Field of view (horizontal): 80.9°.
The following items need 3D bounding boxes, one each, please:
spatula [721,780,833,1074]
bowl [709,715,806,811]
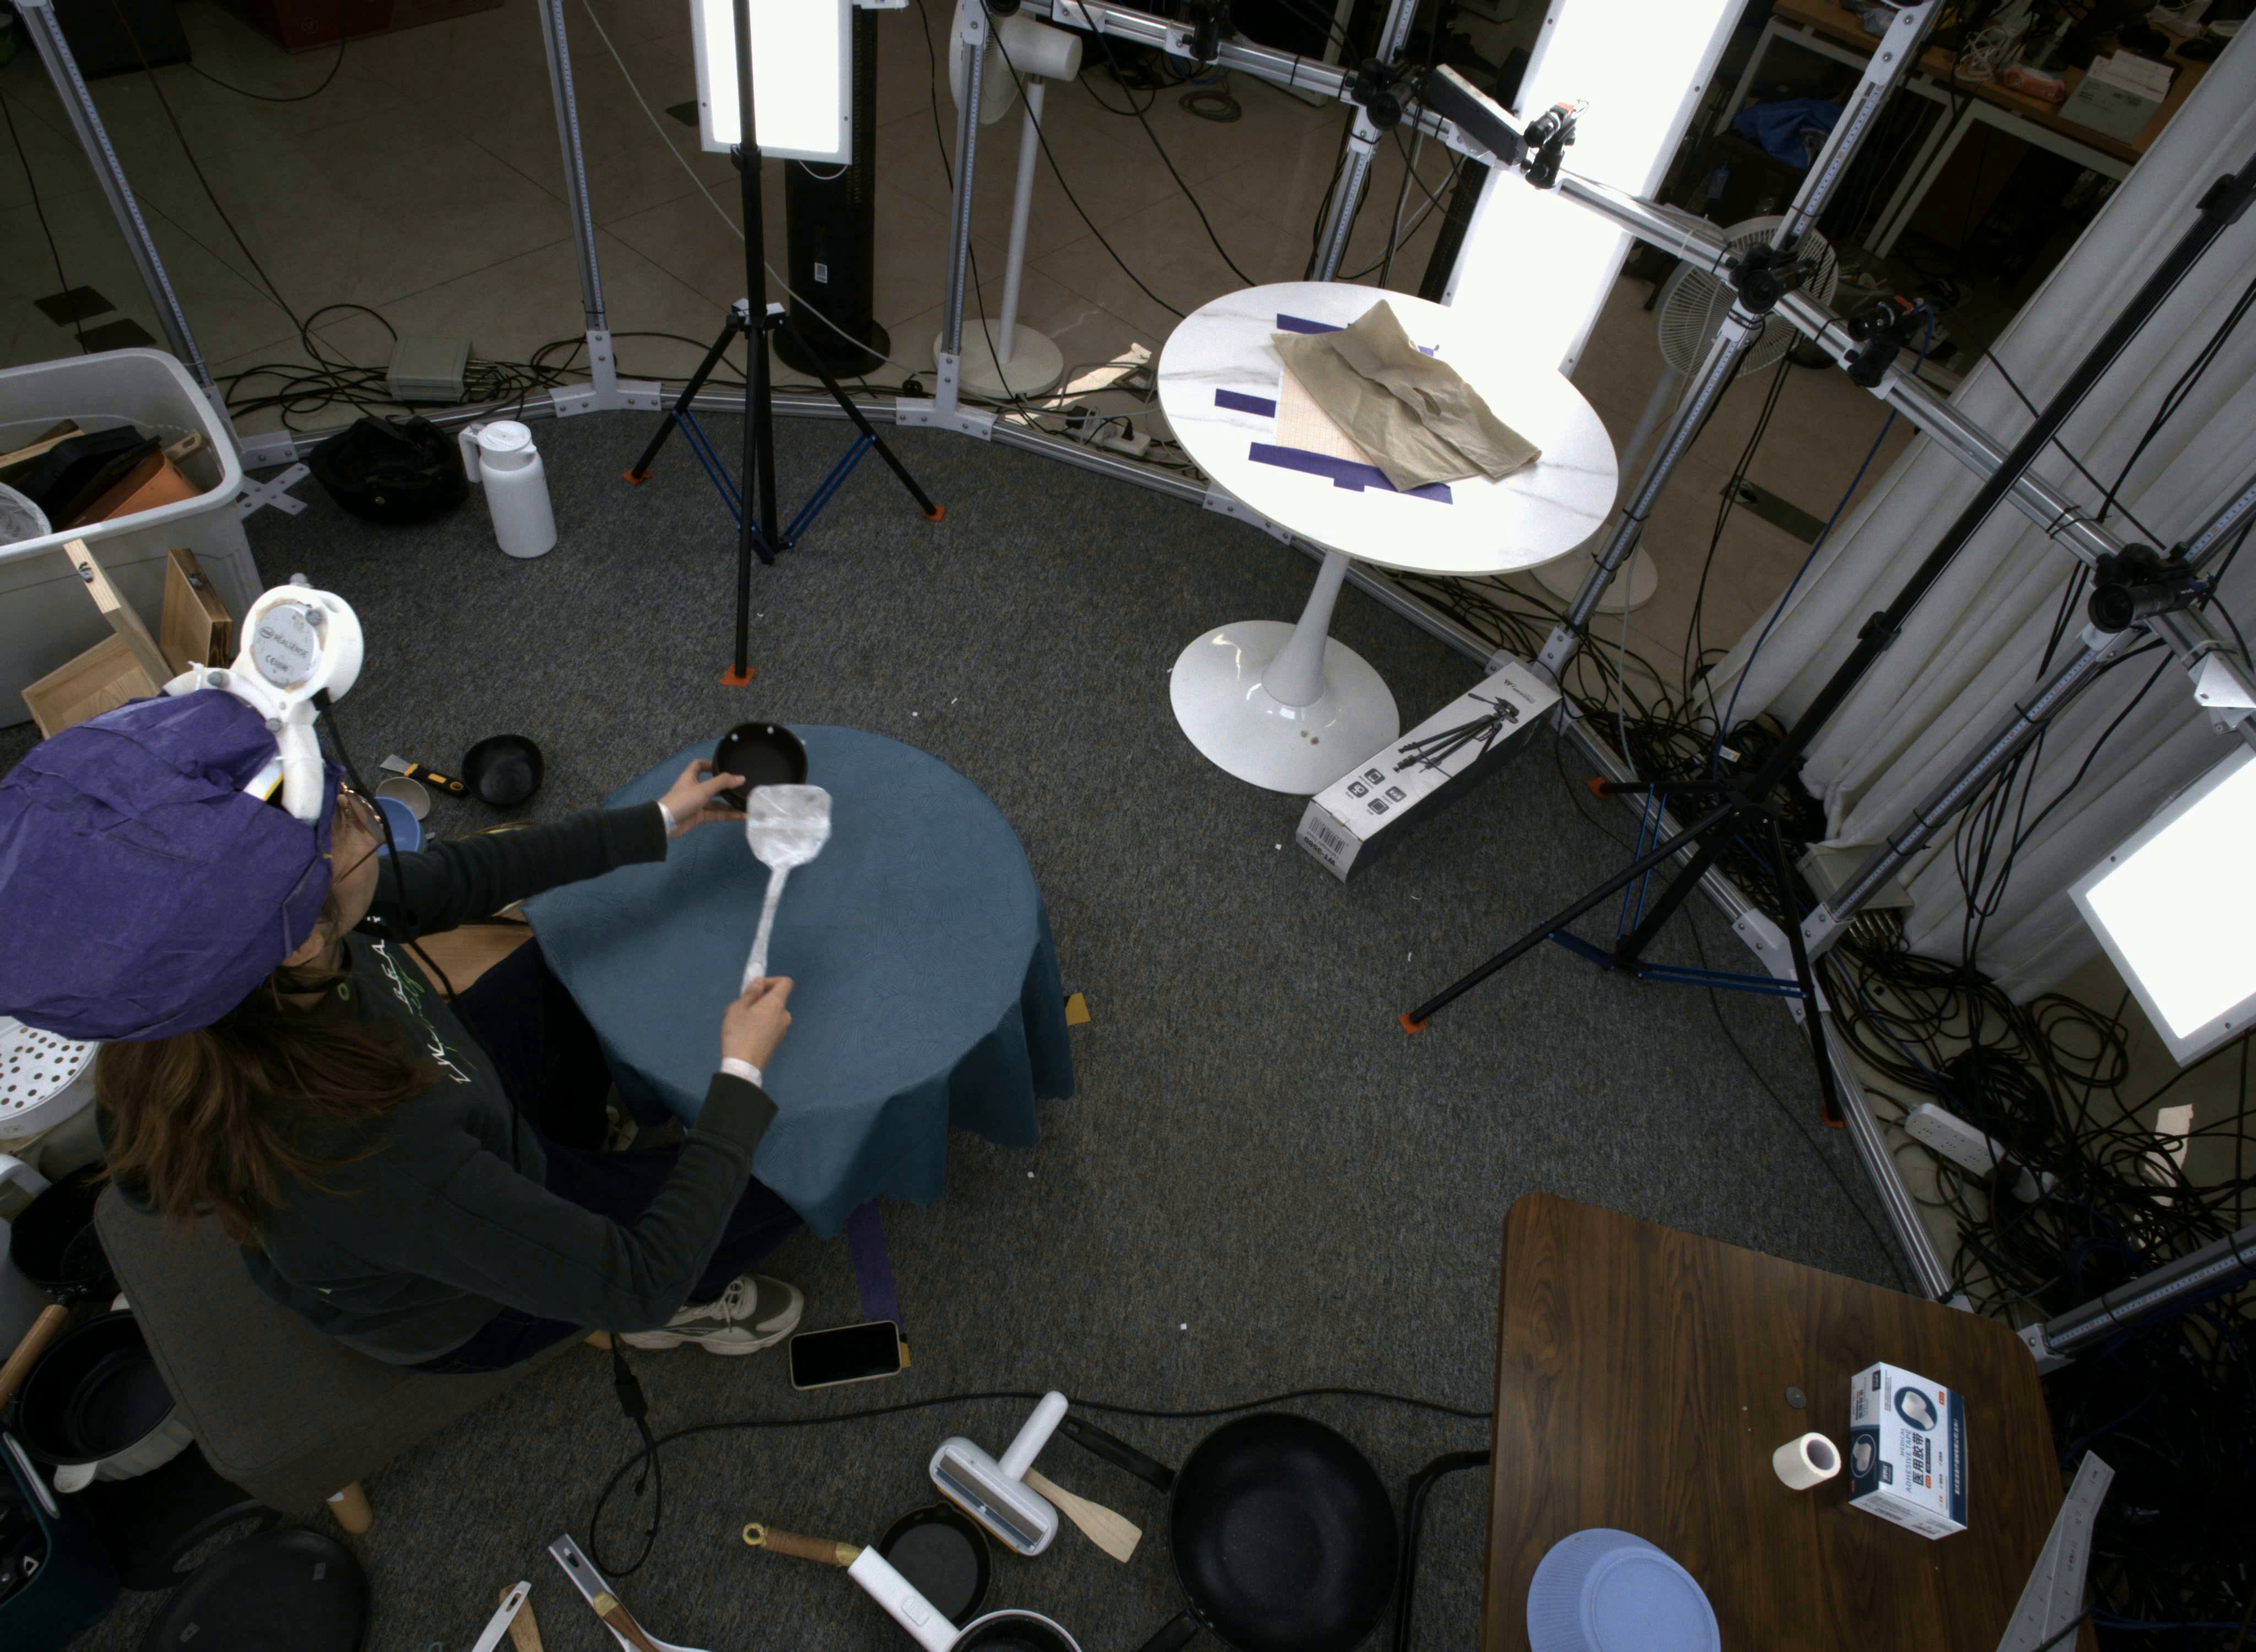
[{"bbox_3d":[-0.398,0.099,1.418,0.098,0.046,0.358,4,51,-2],"label":"spatula"},{"bbox_3d":[-0.467,-0.073,1.626,0.119,0.070,0.117,9,65,-19],"label":"bowl"}]
